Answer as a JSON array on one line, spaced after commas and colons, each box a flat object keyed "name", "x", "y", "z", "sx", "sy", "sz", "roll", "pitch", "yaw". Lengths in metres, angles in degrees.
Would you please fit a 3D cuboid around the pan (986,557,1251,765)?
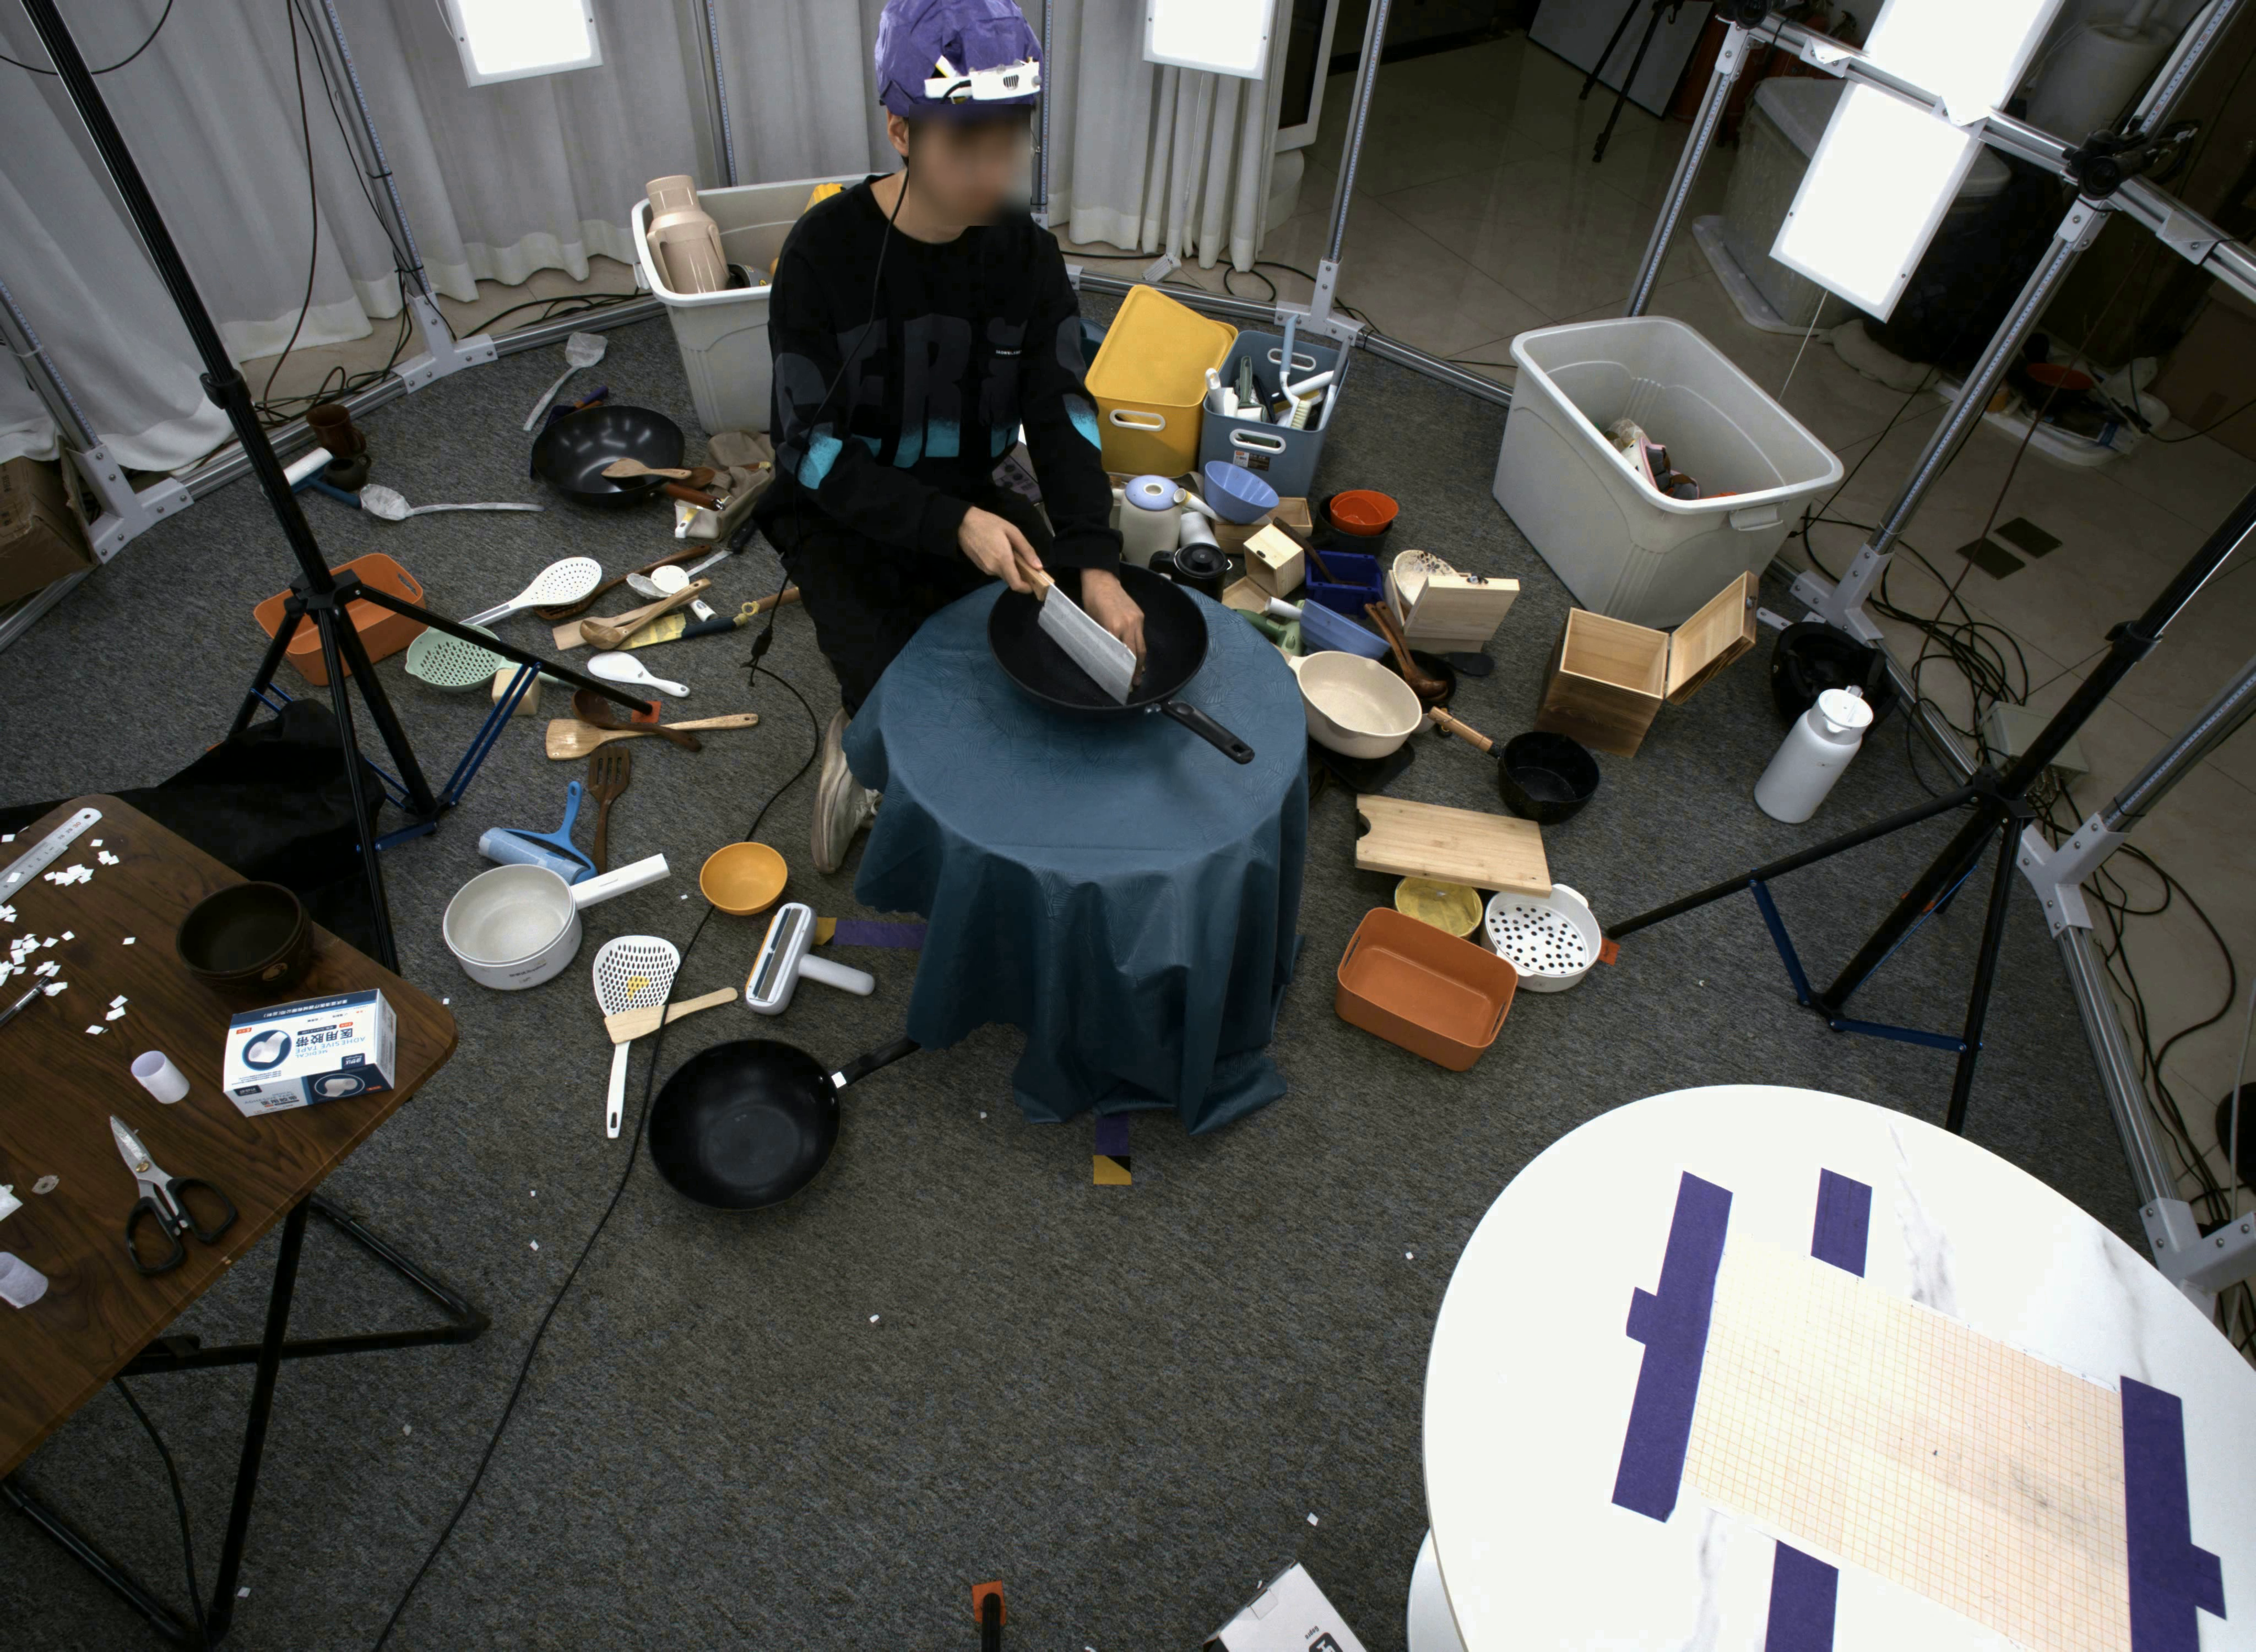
[{"name": "pan", "x": 0.005, "y": -0.204, "z": 1.778, "sx": 0.312, "sy": 0.109, "sz": 0.486, "roll": -29, "pitch": 57, "yaw": -24}]

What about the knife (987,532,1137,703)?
[{"name": "knife", "x": -0.092, "y": -0.300, "z": 1.804, "sx": 0.022, "sy": 0.112, "sz": 0.319, "roll": -32, "pitch": 71, "yaw": -33}]
